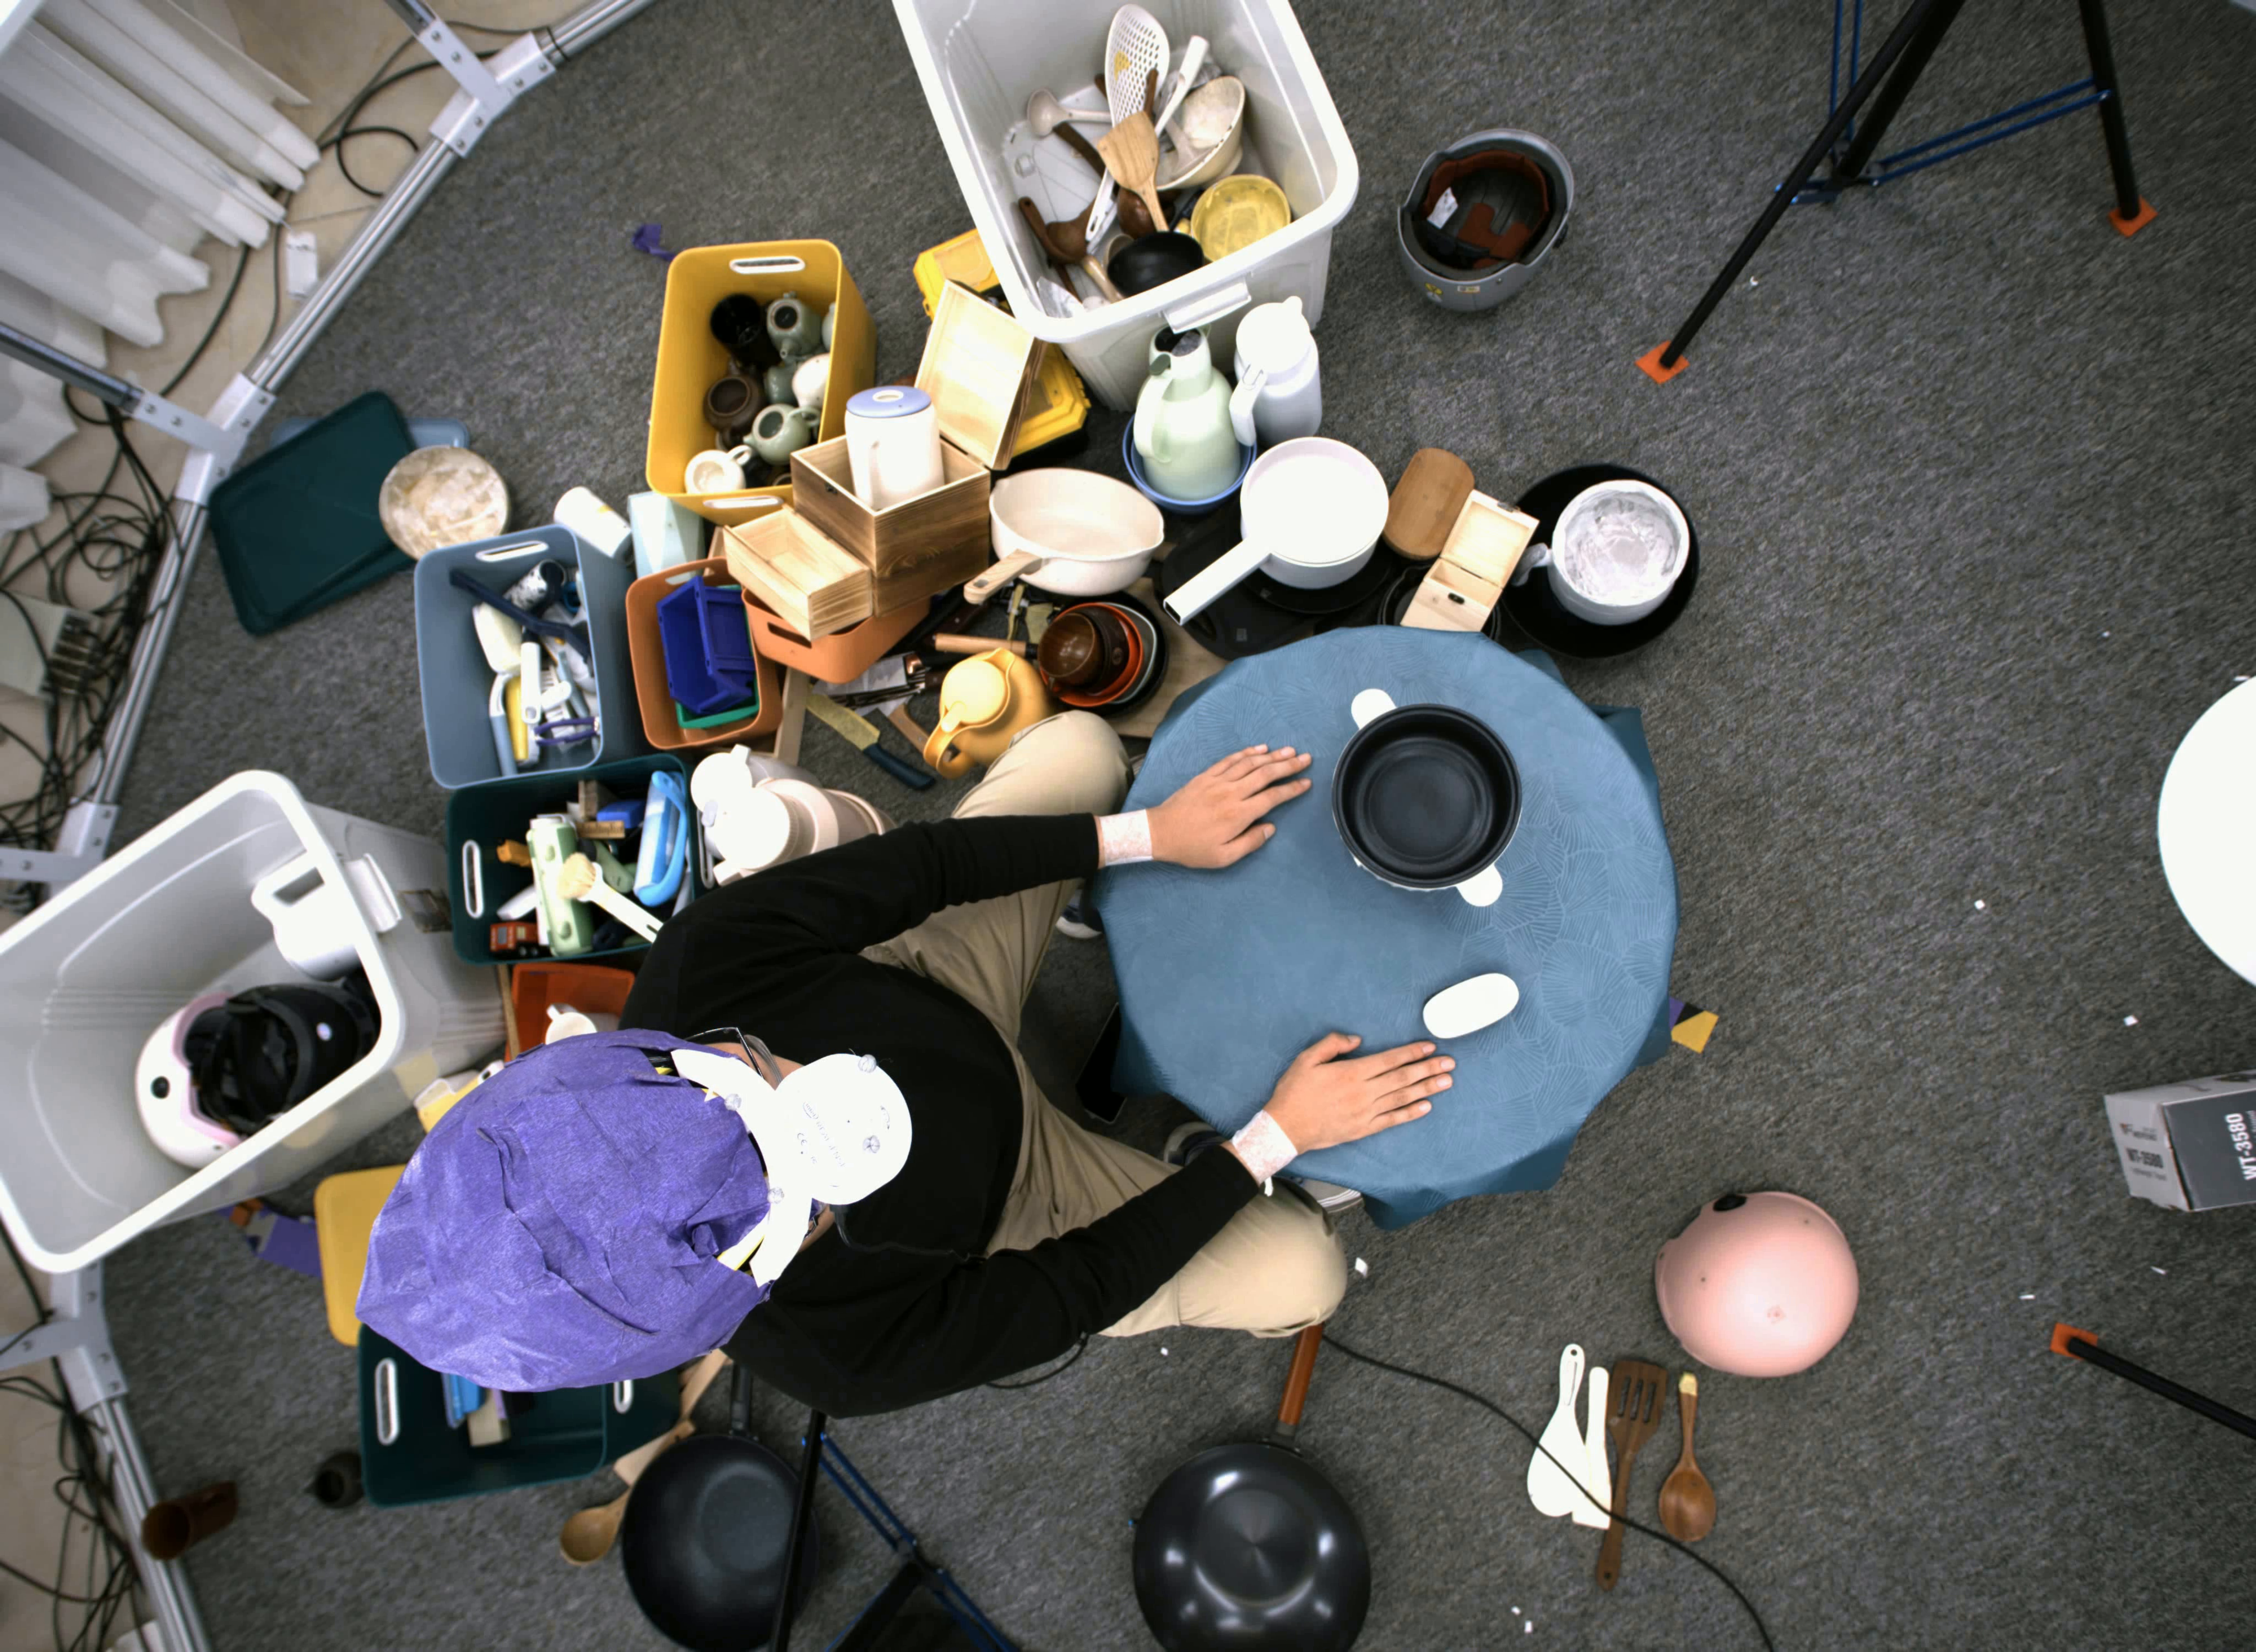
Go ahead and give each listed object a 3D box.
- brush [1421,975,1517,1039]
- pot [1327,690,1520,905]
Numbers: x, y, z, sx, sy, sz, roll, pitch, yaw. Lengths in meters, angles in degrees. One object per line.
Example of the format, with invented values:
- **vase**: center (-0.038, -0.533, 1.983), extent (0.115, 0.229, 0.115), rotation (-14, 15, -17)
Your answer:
- **brush**: center (0.347, 0.182, 1.403), extent (0.100, 0.072, 0.050), rotation (-23, 81, 8)
- **pot**: center (0.301, -0.028, 1.390), extent (0.192, 0.142, 0.239), rotation (-32, 82, 9)
